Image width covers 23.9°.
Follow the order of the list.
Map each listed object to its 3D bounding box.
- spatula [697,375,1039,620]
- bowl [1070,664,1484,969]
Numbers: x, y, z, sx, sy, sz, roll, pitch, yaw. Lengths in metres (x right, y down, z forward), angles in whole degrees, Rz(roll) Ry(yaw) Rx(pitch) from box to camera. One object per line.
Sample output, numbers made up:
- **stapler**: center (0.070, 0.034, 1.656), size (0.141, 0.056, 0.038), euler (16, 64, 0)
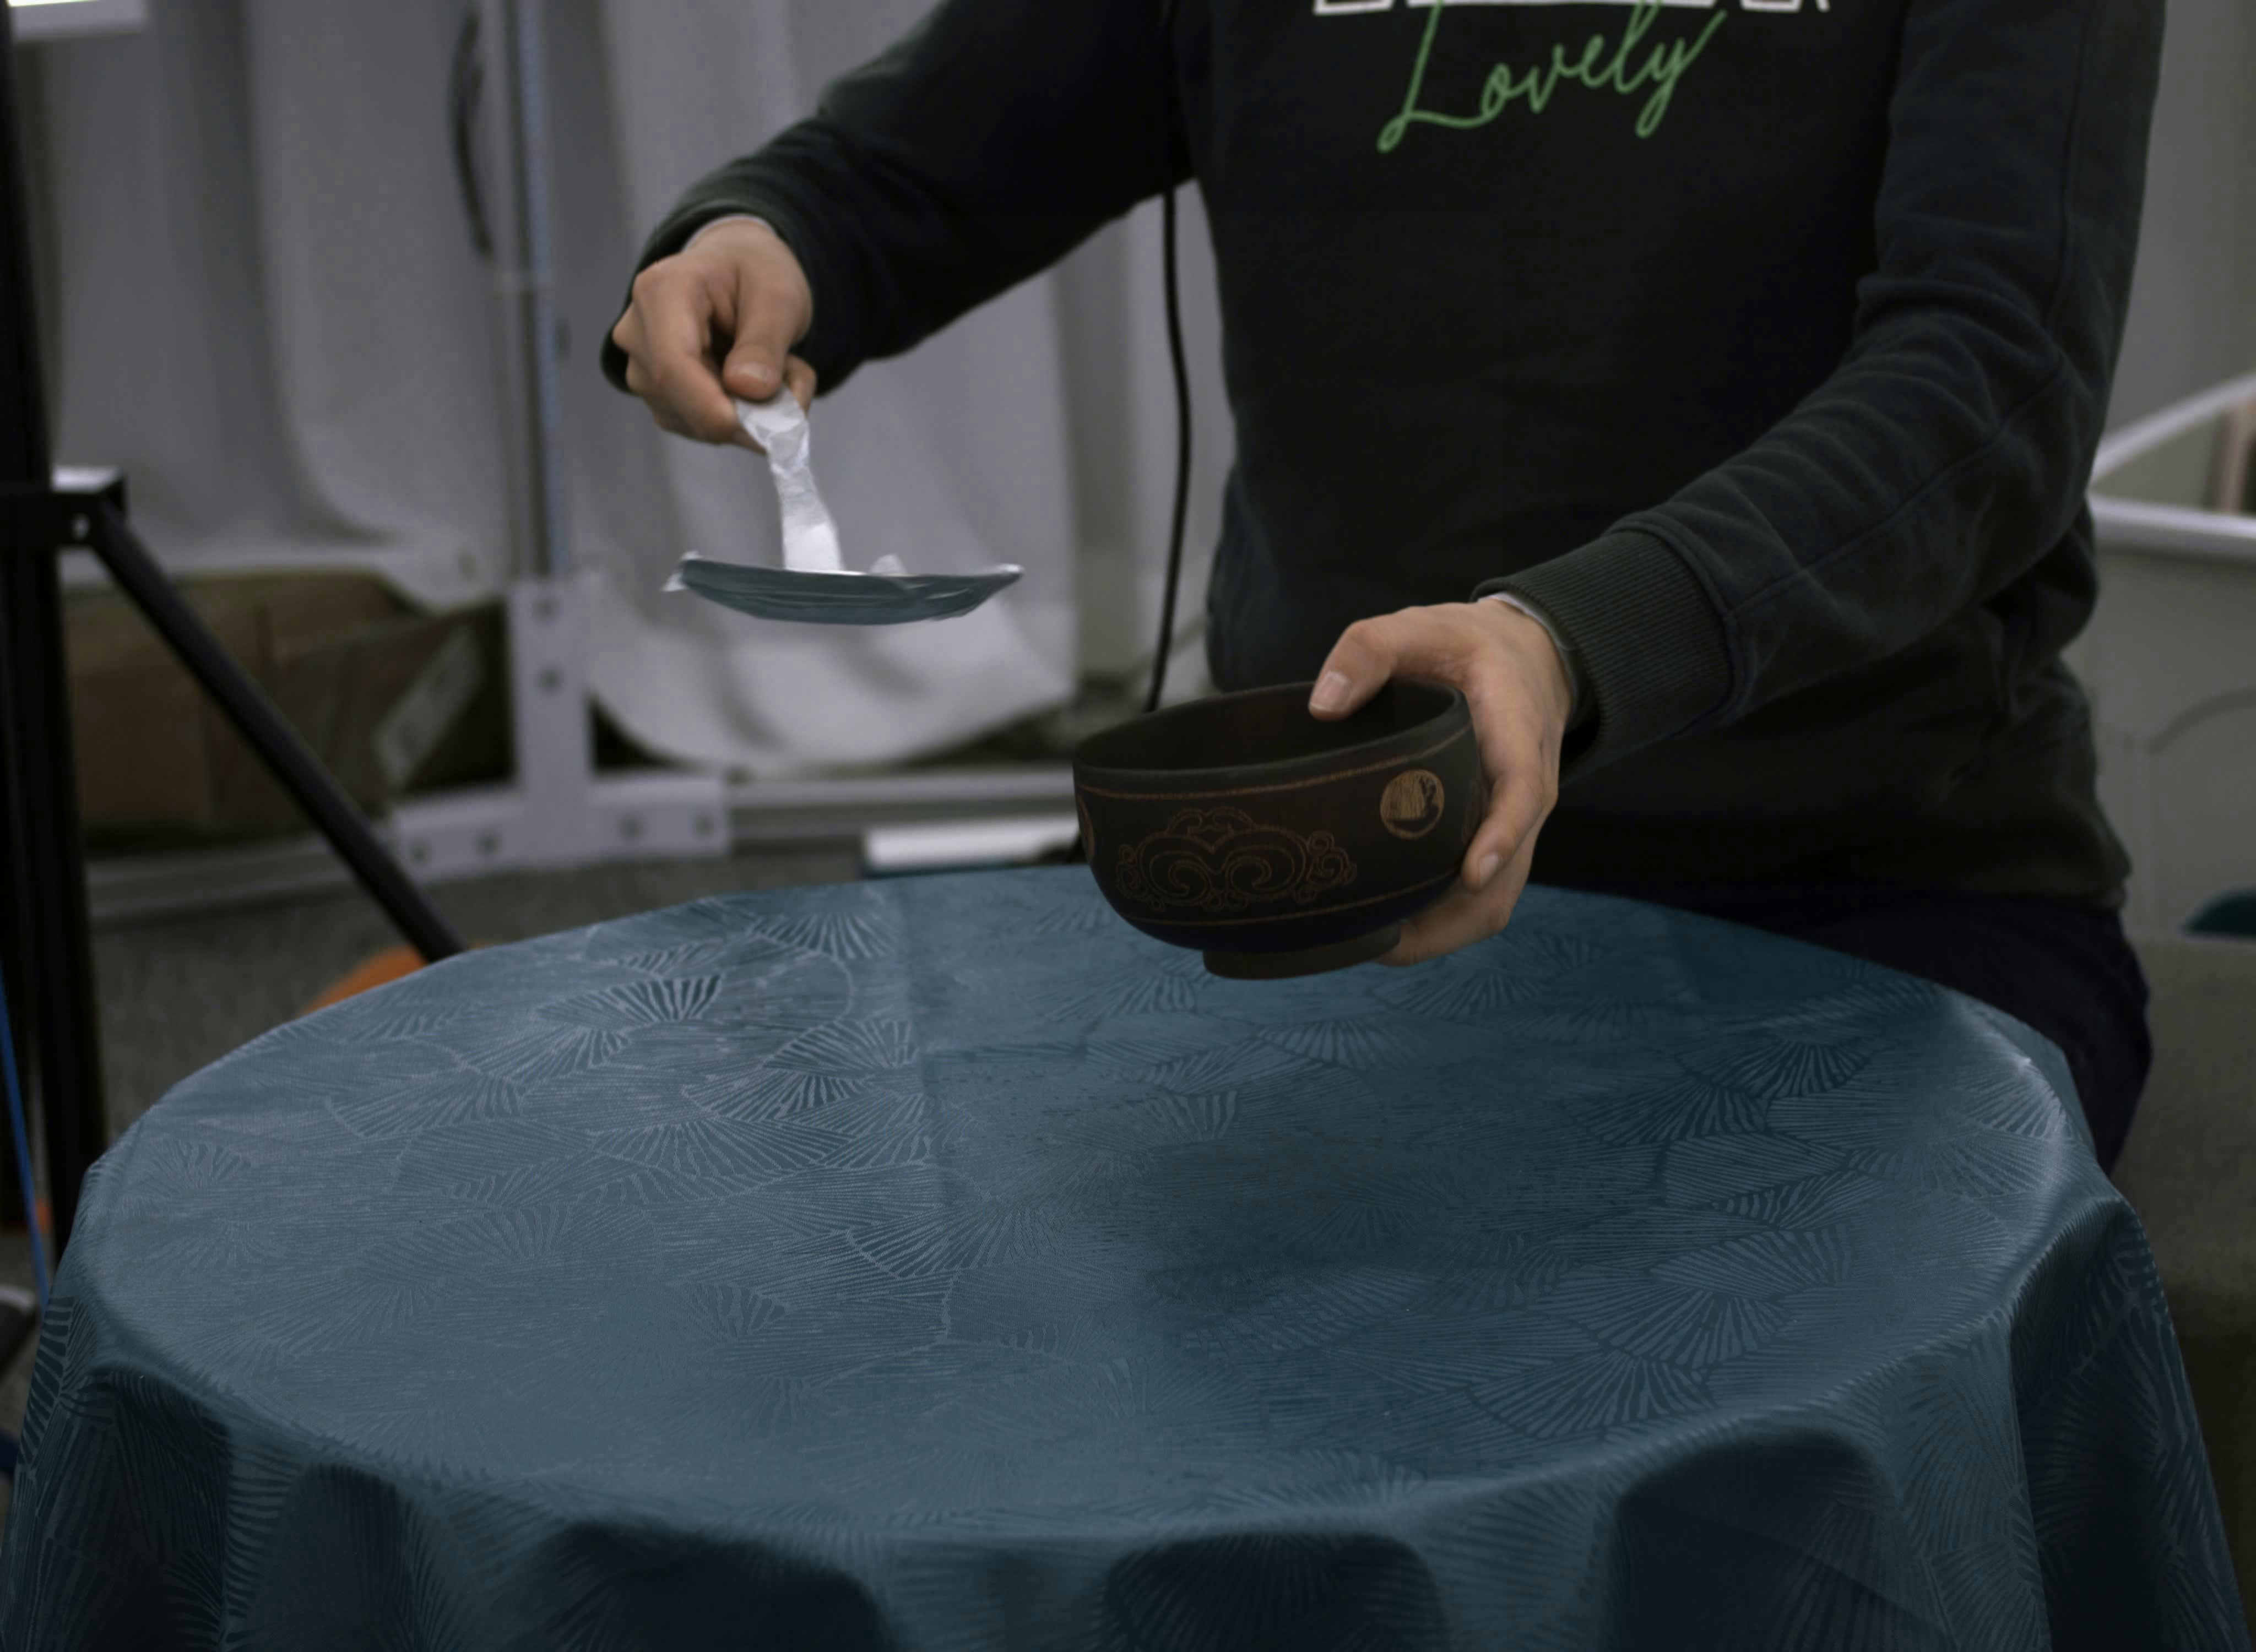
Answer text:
- **spatula**: center (-0.097, -0.113, 1.667), size (0.097, 0.045, 0.369), euler (-1, 19, -9)
- **bowl**: center (0.045, 0.000, 1.517), size (0.117, 0.070, 0.118), euler (-7, 12, 0)
